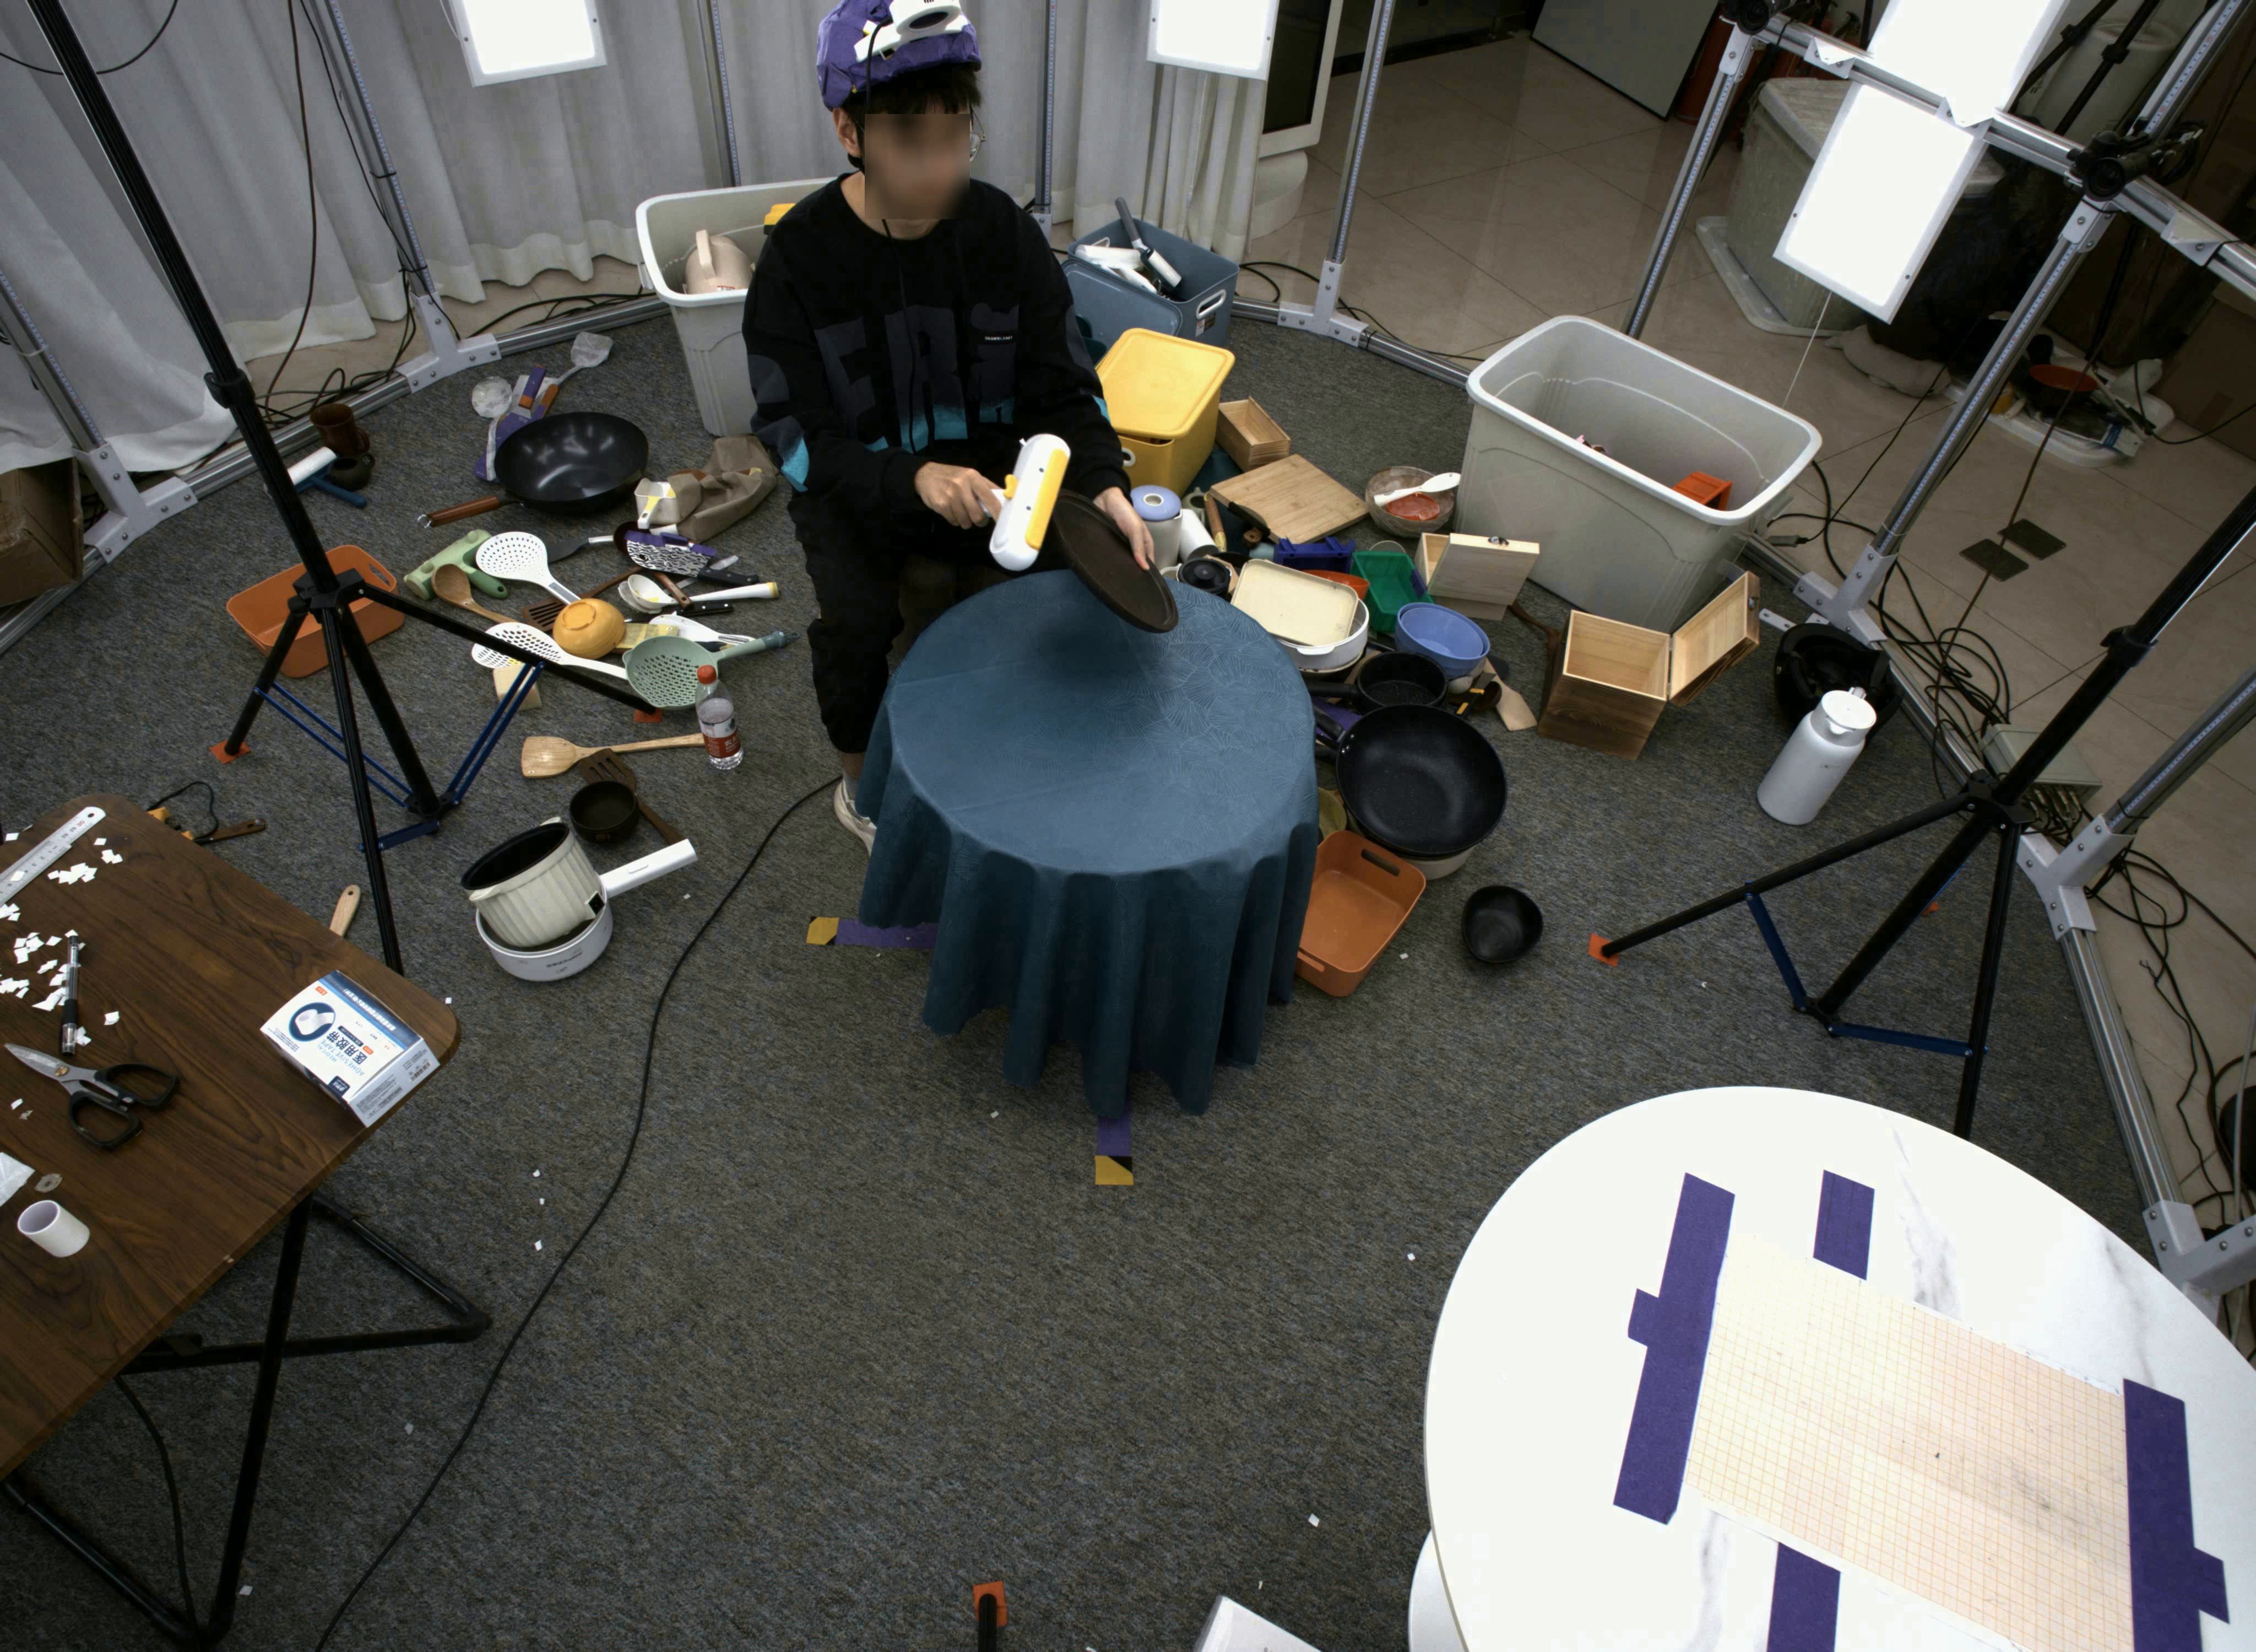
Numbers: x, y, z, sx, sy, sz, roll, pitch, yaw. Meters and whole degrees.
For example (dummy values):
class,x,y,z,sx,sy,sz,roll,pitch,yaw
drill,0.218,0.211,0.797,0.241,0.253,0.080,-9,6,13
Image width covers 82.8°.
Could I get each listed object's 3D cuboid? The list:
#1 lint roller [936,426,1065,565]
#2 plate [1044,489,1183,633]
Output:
class,x,y,z,sx,sy,sz,roll,pitch,yaw
lint roller,-0.179,-0.440,1.749,0.193,0.073,0.195,-3,71,44
plate,-0.024,-0.367,1.796,0.251,0.029,0.261,37,27,-23
